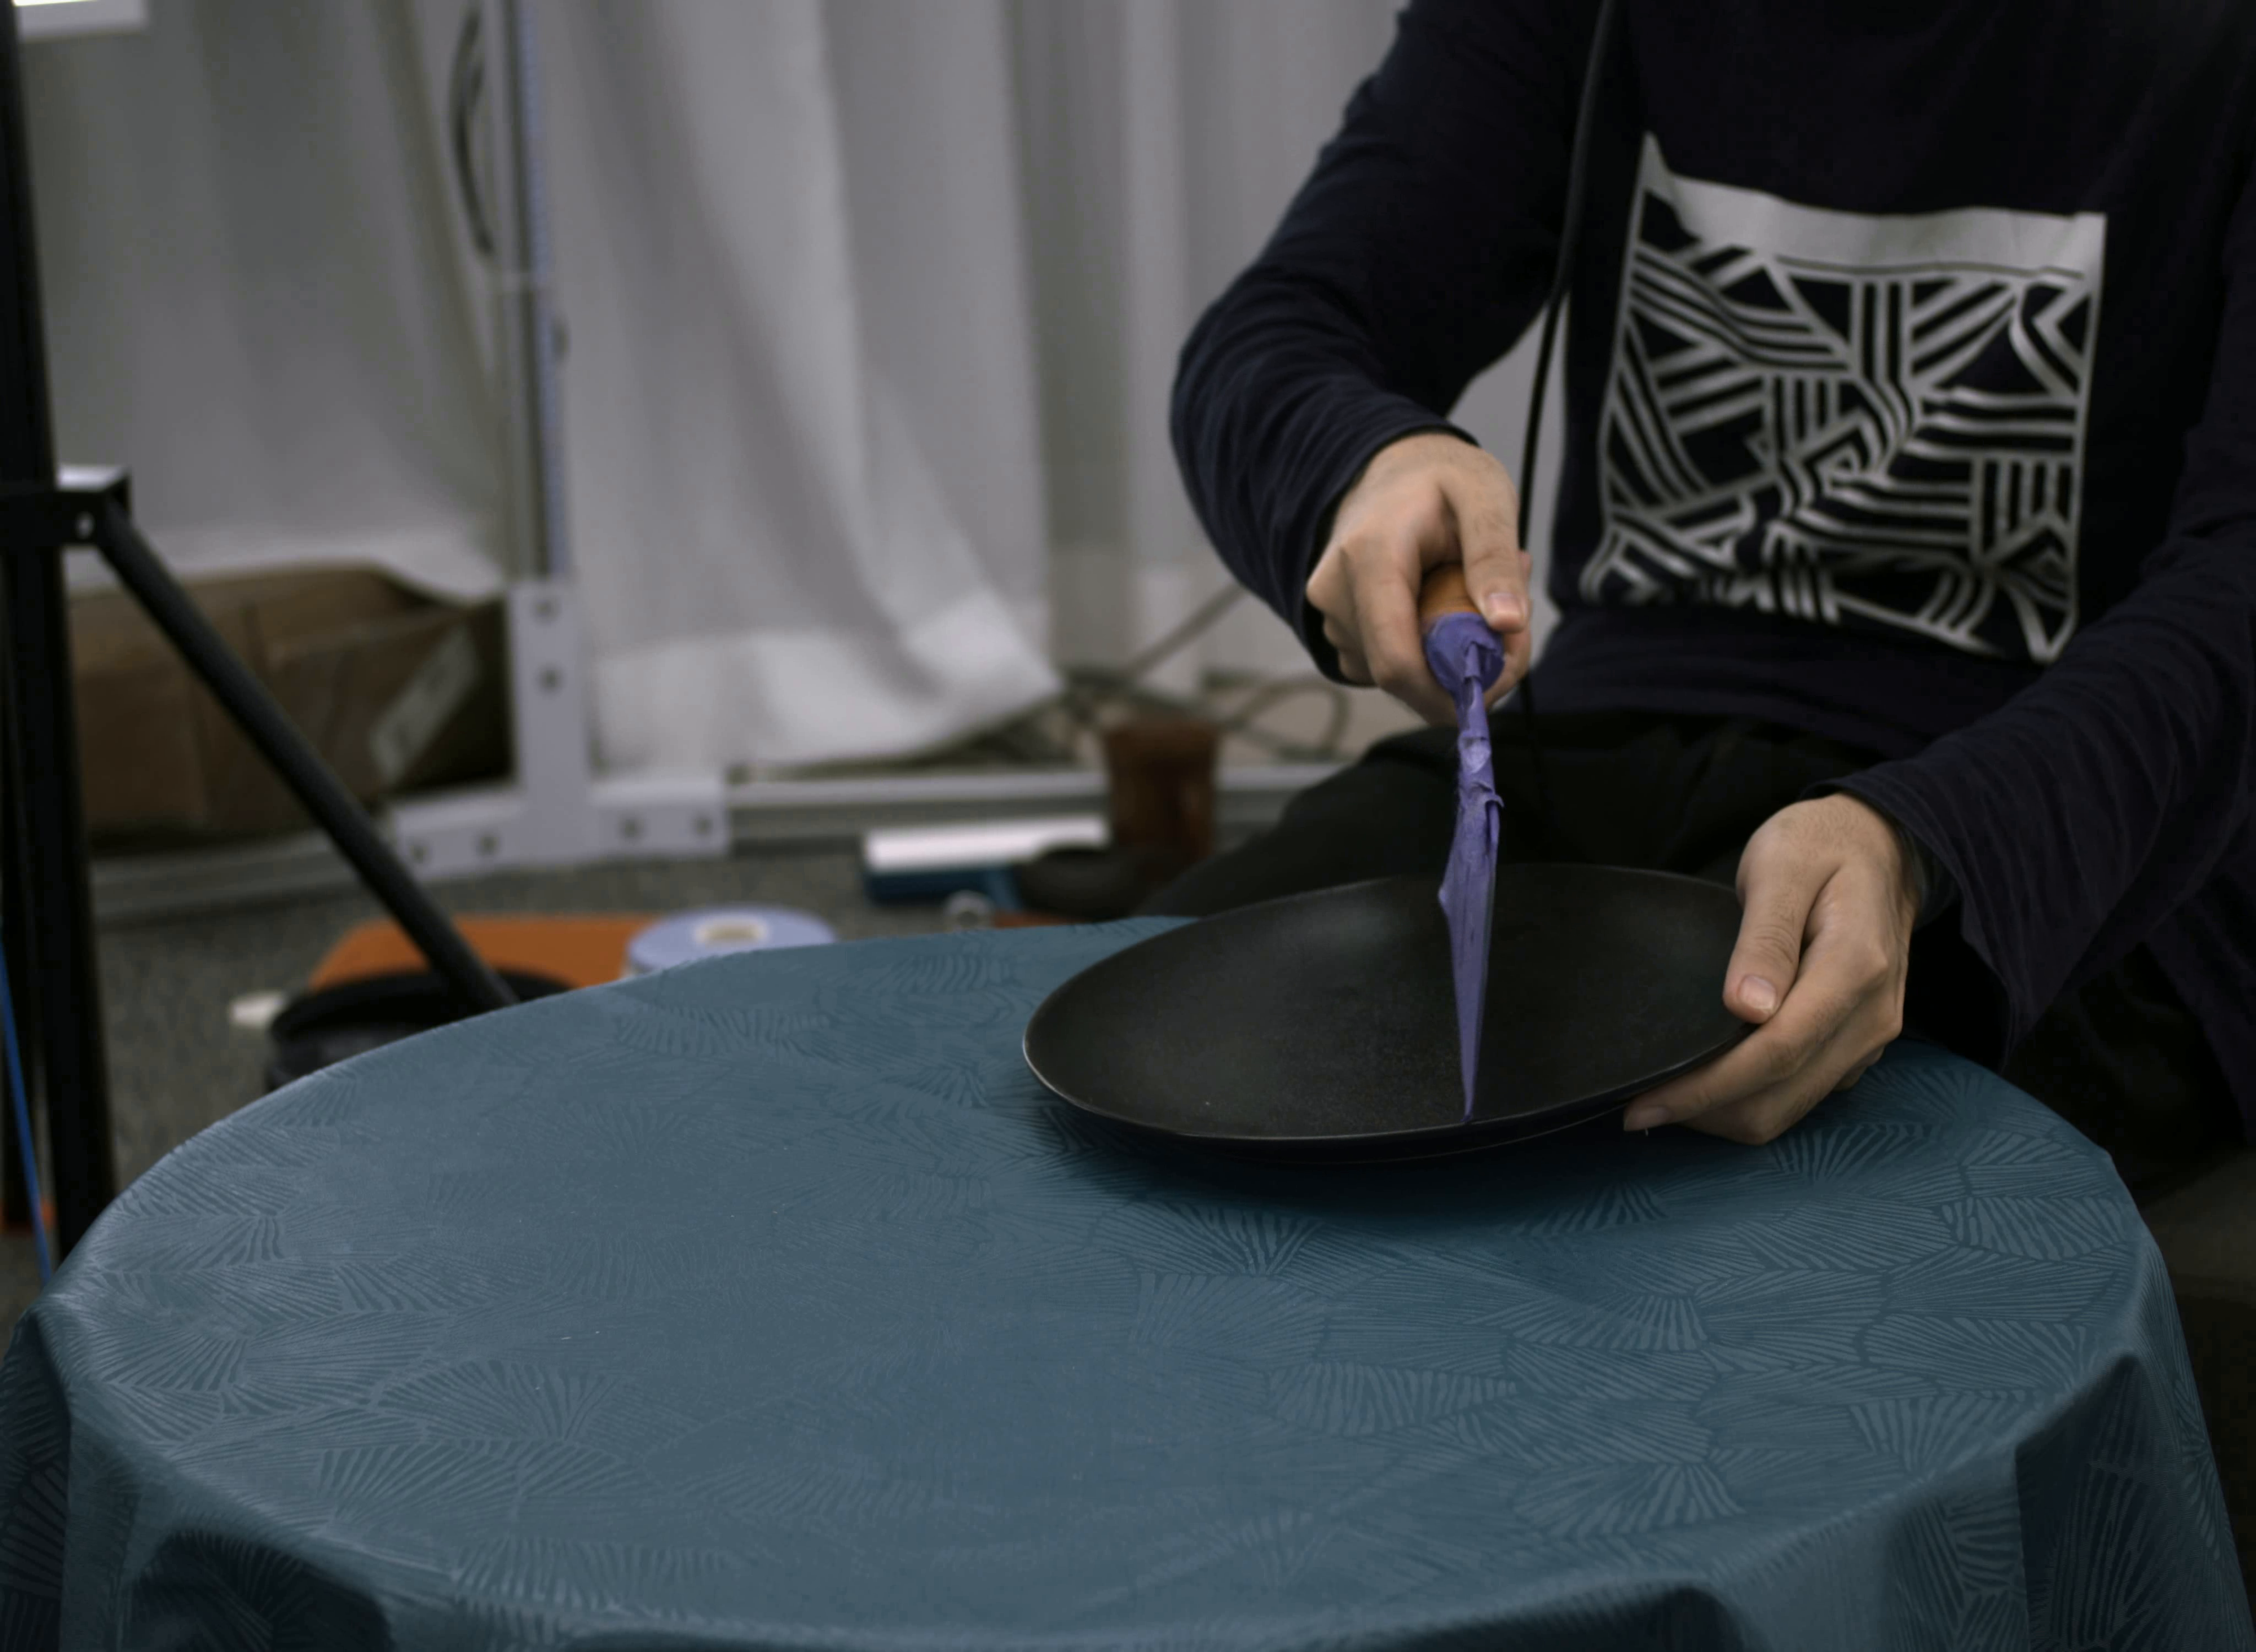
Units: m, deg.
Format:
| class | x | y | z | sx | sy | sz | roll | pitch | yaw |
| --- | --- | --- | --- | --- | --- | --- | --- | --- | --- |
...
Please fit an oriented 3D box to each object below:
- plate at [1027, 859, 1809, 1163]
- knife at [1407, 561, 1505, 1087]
| class | x | y | z | sx | sy | sz | roll | pitch | yaw |
| --- | --- | --- | --- | --- | --- | --- | --- | --- | --- |
| plate | 0.090 | 0.061 | 1.637 | 0.243 | 0.023 | 0.246 | -9 | 16 | 1 |
| knife | 0.098 | -0.004 | 1.649 | 0.032 | 0.104 | 0.315 | 6 | 17 | 2 |
